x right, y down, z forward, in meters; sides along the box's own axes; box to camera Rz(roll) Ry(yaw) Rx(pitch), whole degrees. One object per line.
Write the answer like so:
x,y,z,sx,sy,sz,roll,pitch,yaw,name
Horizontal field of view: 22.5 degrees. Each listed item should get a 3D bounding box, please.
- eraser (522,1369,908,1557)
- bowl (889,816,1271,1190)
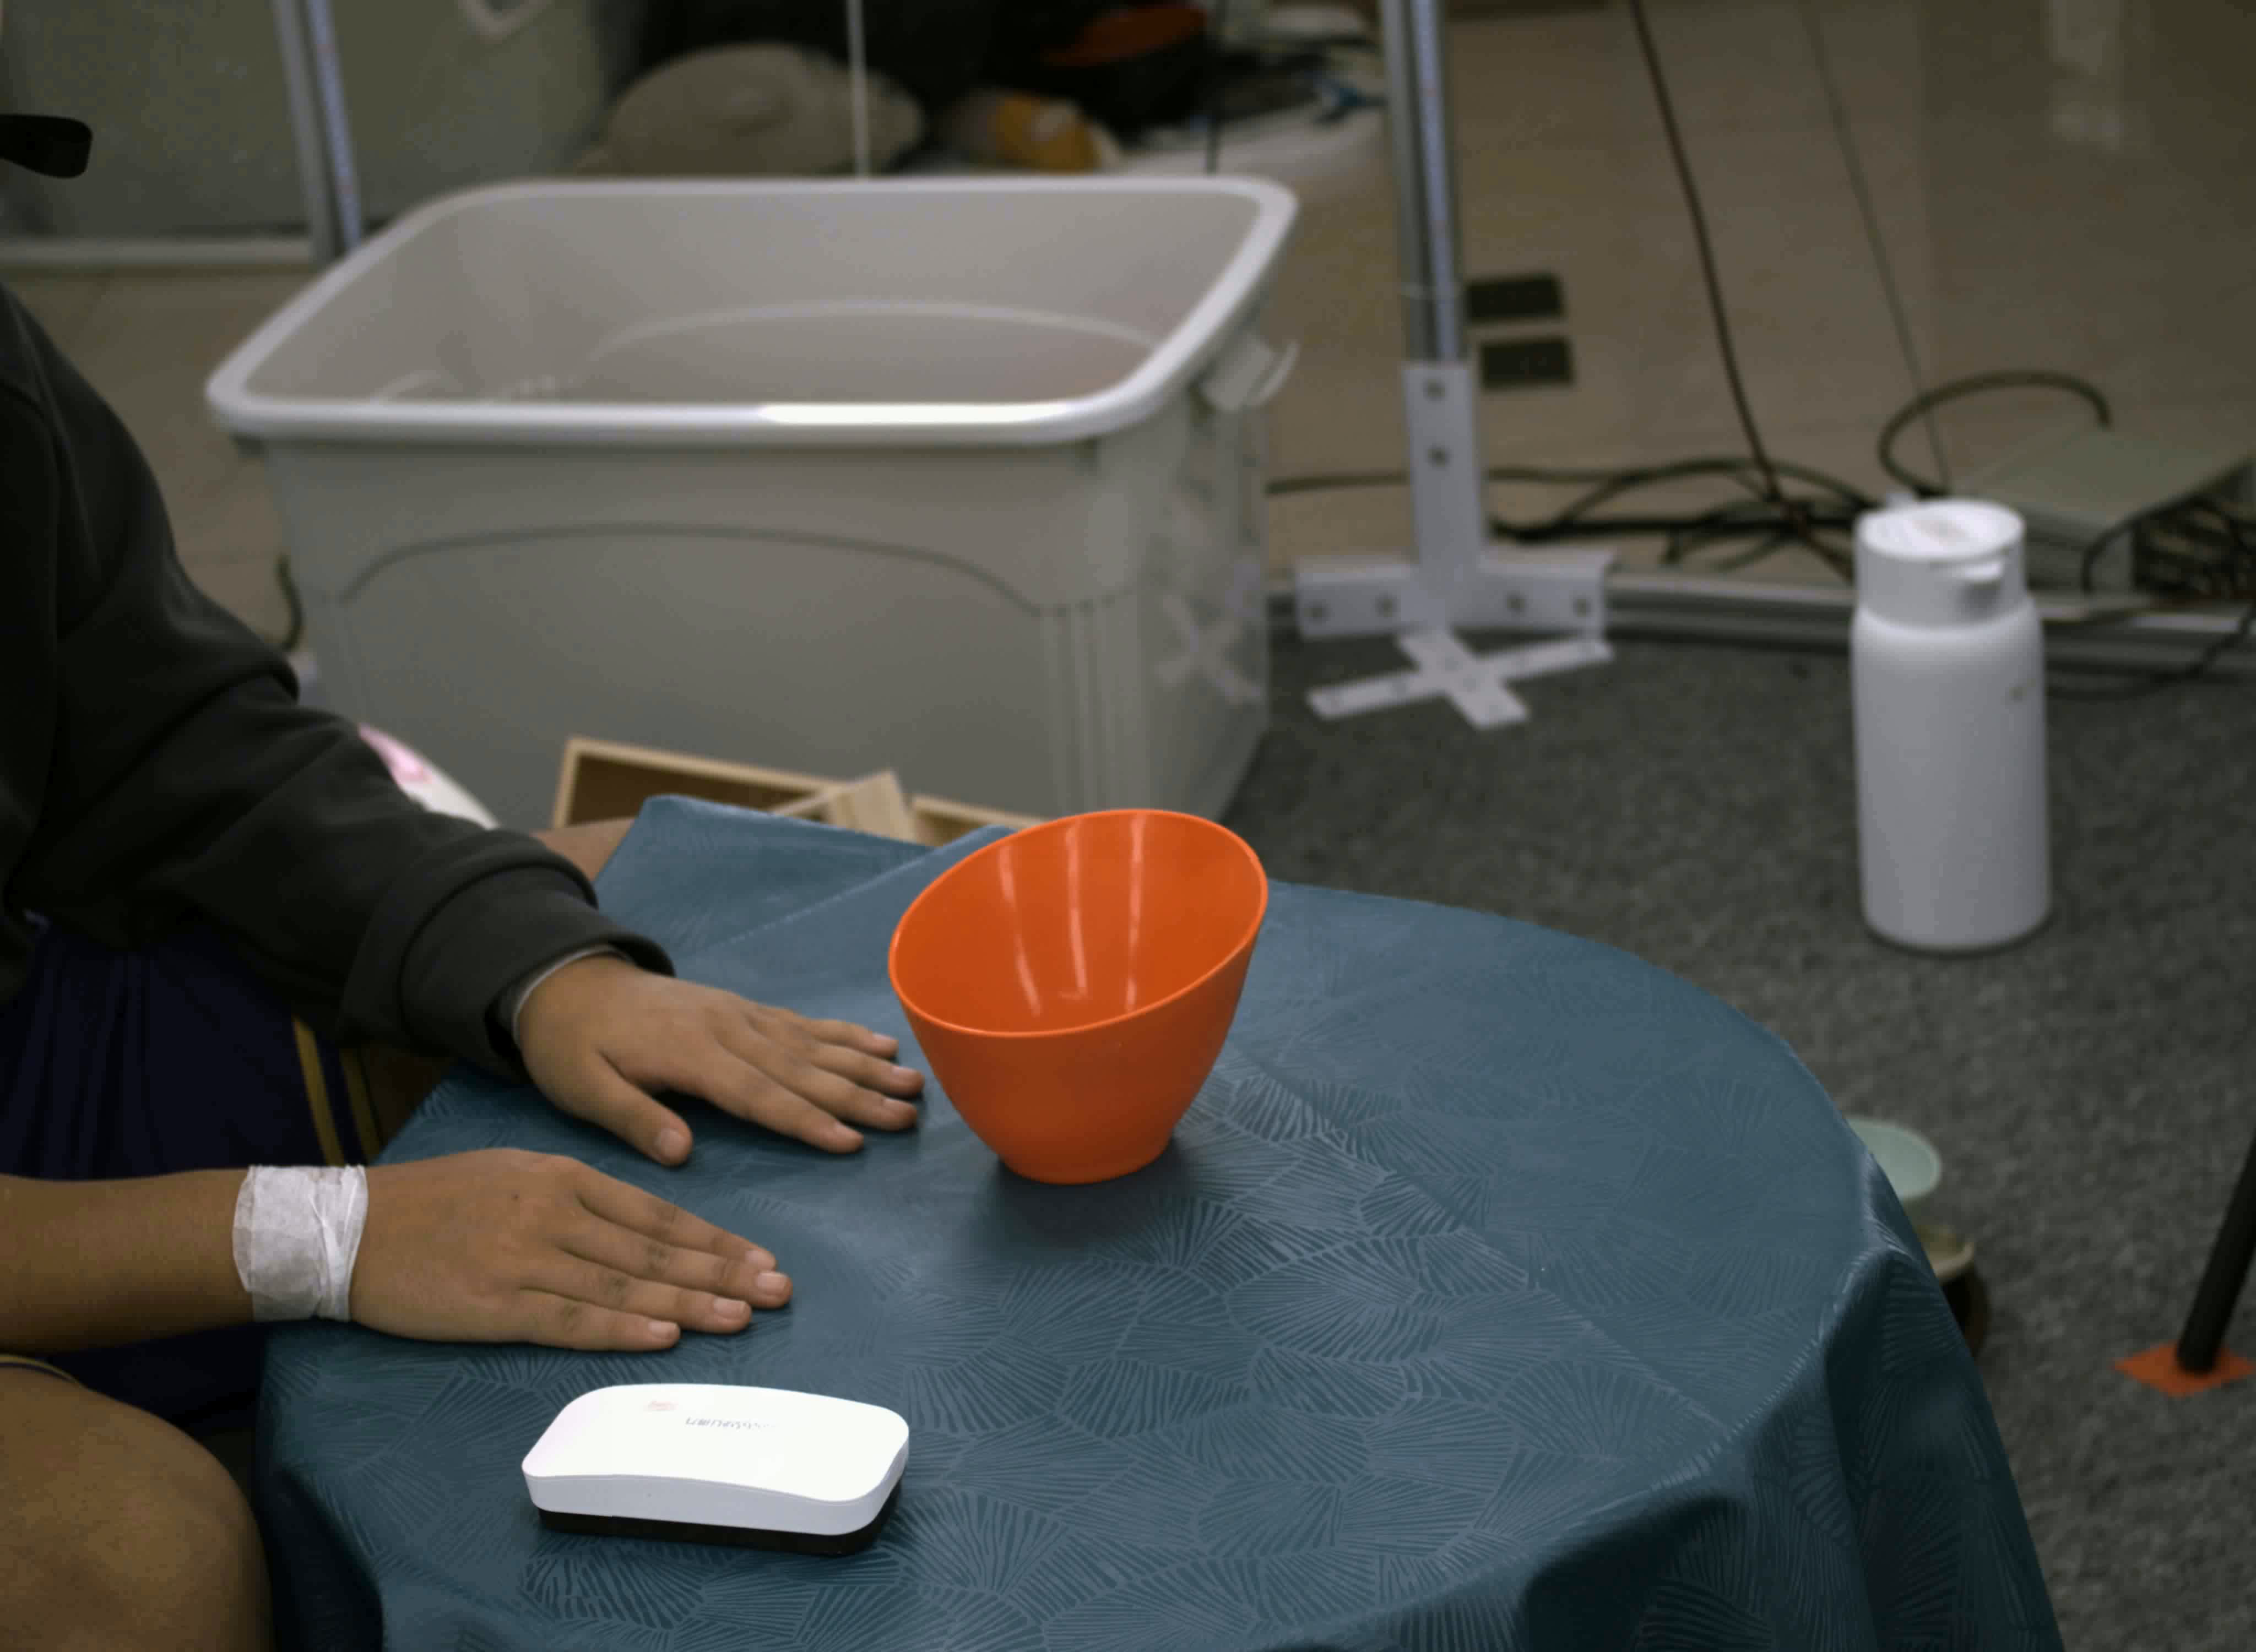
-0.142,0.220,1.969,0.131,0.035,0.062,5,26,20,eraser
-0.014,0.074,2.170,0.148,0.106,0.146,-6,26,3,bowl
